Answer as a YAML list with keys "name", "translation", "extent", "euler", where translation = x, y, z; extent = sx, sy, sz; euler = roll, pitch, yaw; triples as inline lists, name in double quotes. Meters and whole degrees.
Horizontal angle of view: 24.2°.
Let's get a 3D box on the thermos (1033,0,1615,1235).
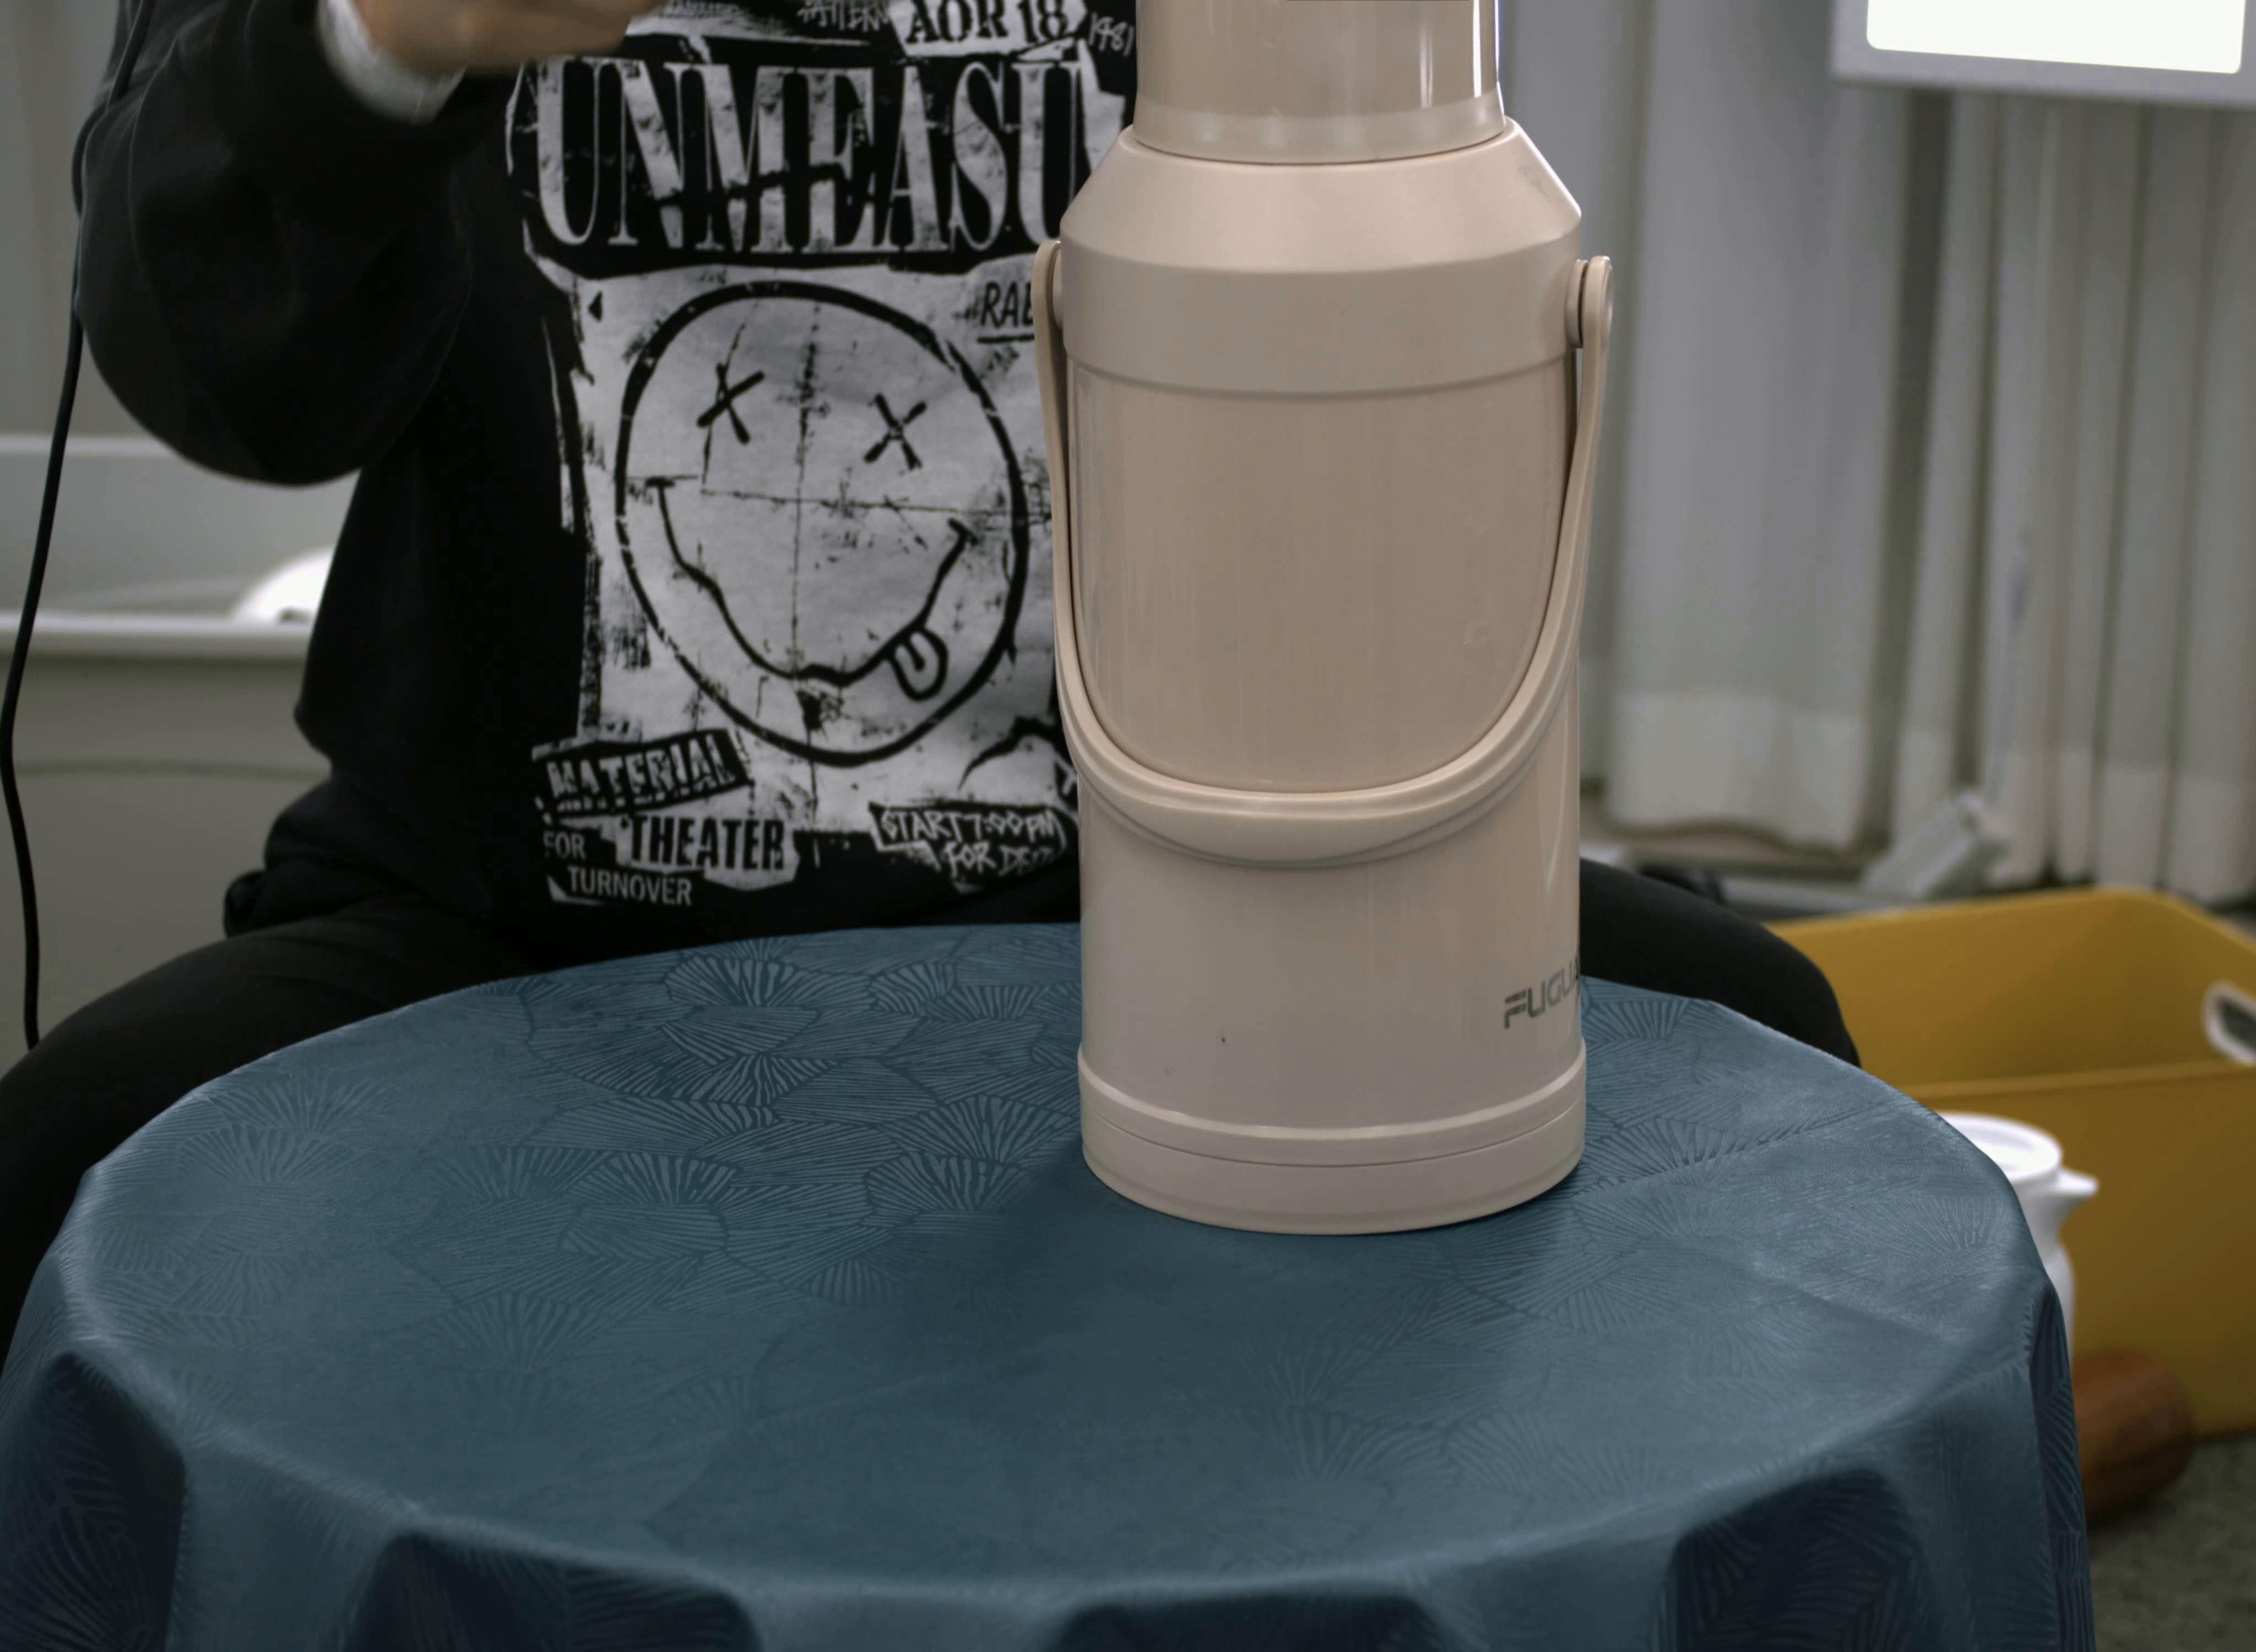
- name: "thermos"
  translation: [0.065, -0.094, 1.610]
  extent: [0.174, 0.410, 0.206]
  euler: [2, 19, 13]
